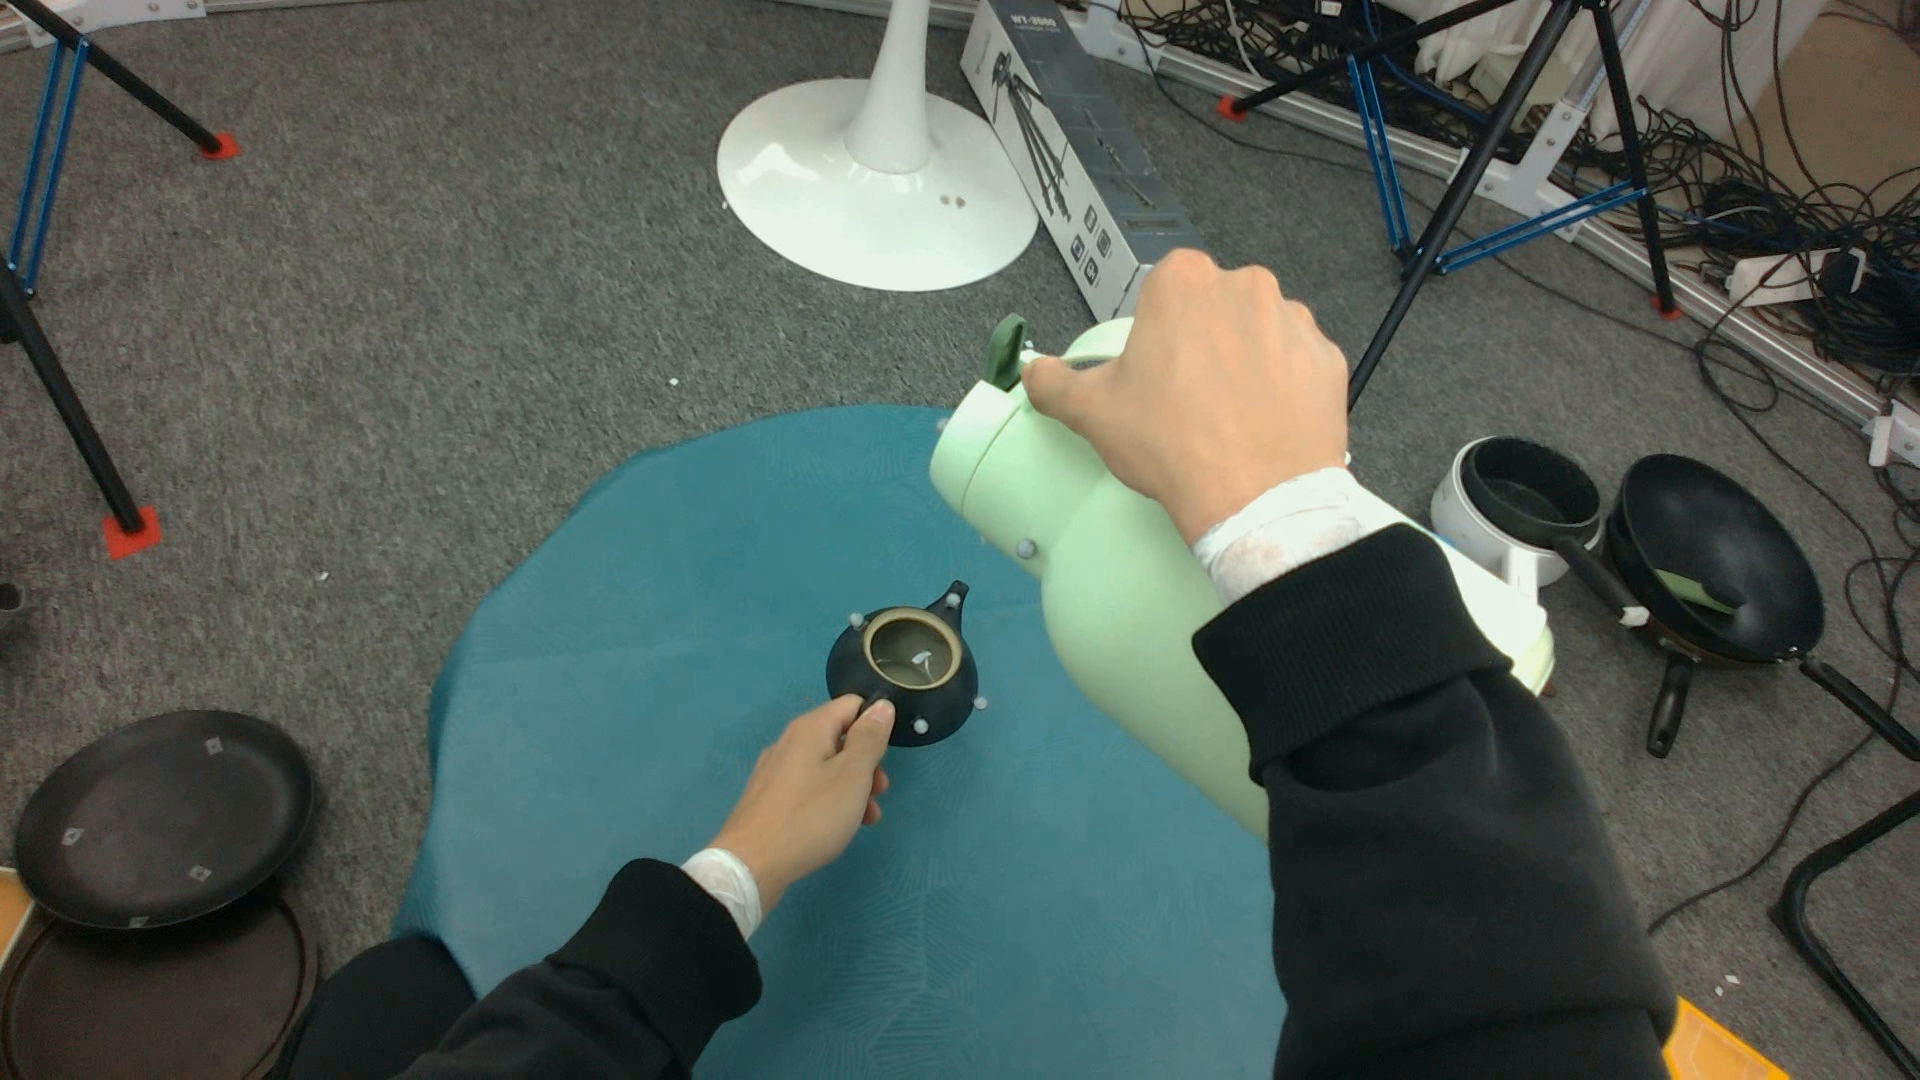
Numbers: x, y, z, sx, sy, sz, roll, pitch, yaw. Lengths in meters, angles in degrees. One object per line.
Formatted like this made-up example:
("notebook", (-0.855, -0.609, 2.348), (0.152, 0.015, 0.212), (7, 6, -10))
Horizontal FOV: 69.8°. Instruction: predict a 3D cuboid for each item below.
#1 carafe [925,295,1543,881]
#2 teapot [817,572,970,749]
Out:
("carafe", (0.104, 0.005, 0.573), (0.257, 0.186, 0.145), (40, 58, 14))
("teapot", (-0.038, 0.074, 0.802), (0.091, 0.053, 0.134), (28, 45, 9))
